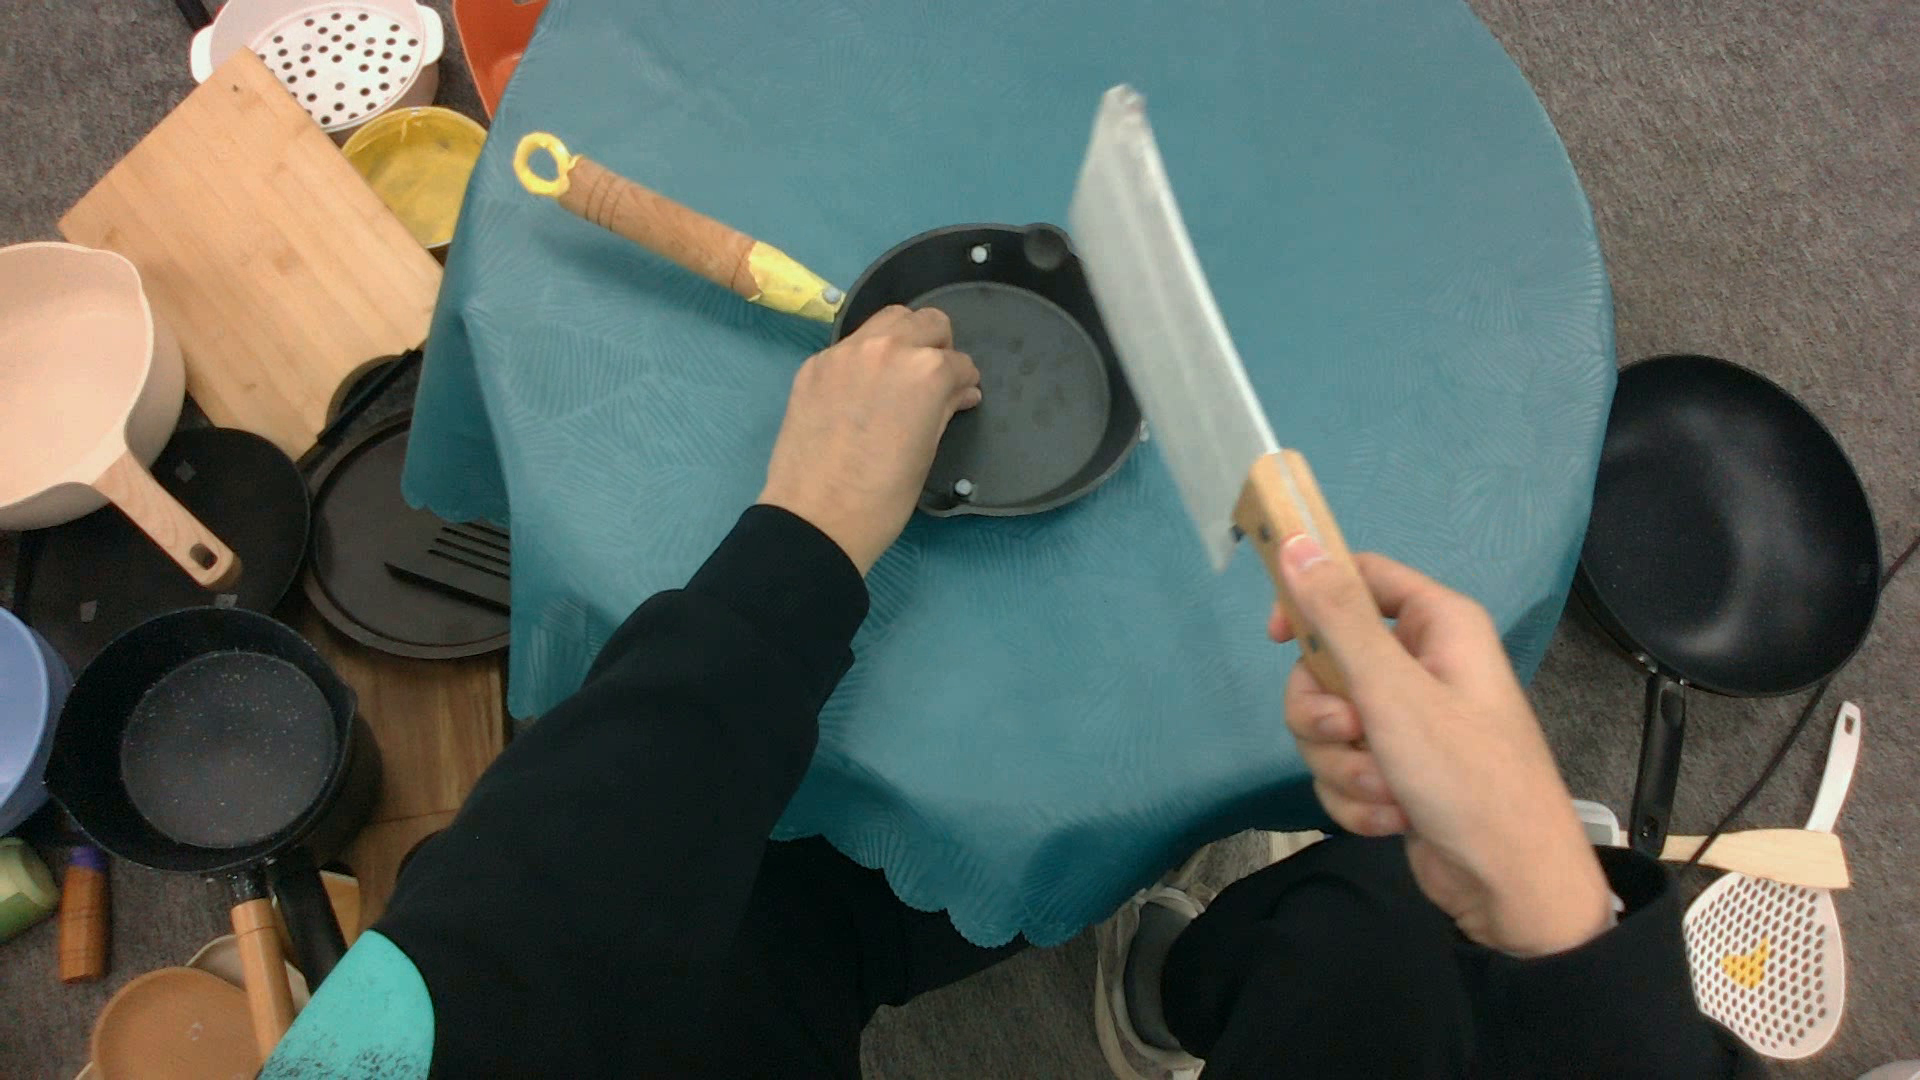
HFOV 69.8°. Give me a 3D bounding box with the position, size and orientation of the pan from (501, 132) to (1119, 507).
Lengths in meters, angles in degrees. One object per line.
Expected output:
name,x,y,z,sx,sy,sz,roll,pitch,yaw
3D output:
pan,-0.069,-0.121,0.668,0.324,0.049,0.169,23,70,2

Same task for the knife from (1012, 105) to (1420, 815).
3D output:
knife,0.084,-0.038,0.528,0.022,0.113,0.316,-17,60,-14
